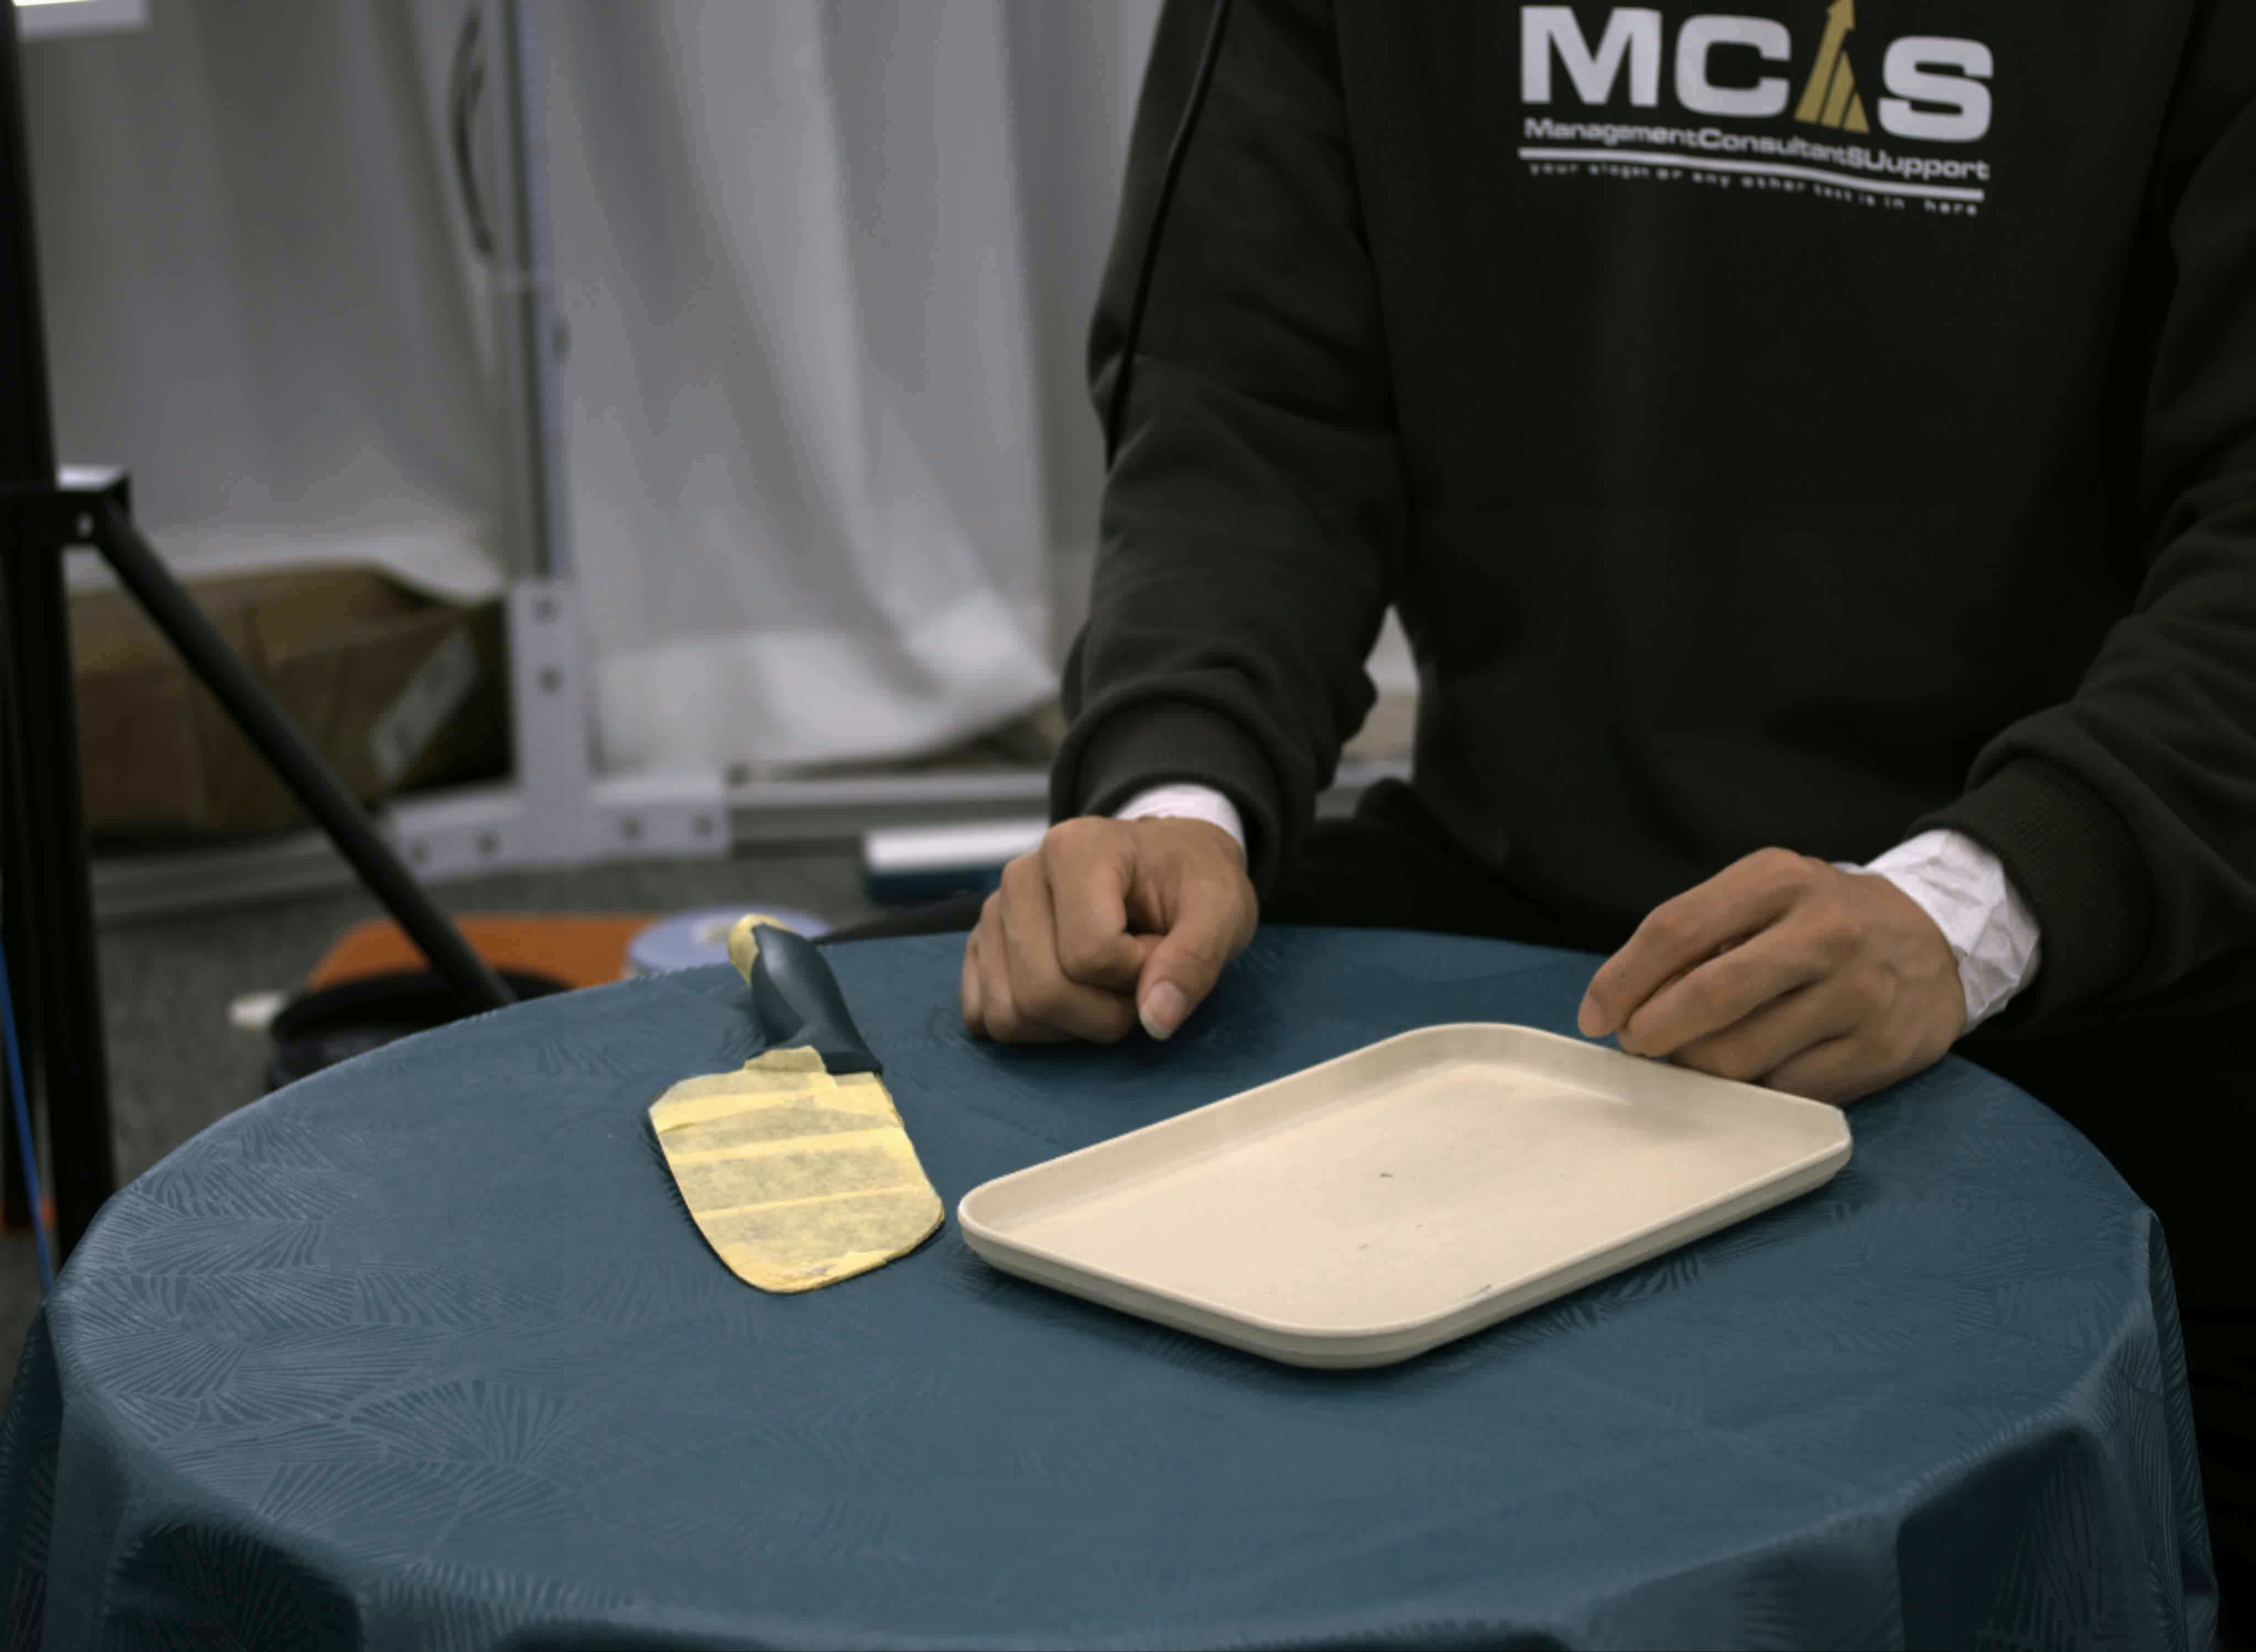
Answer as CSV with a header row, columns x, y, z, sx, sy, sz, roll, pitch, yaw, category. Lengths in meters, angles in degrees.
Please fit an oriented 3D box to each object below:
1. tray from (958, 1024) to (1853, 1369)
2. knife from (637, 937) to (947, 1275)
x,y,z,sx,sy,sz,roll,pitch,yaw,category
0.082,0.105,1.526,0.234,0.017,0.175,-17,21,-41,tray
-0.109,0.086,1.631,0.080,0.027,0.293,-3,16,-9,knife
